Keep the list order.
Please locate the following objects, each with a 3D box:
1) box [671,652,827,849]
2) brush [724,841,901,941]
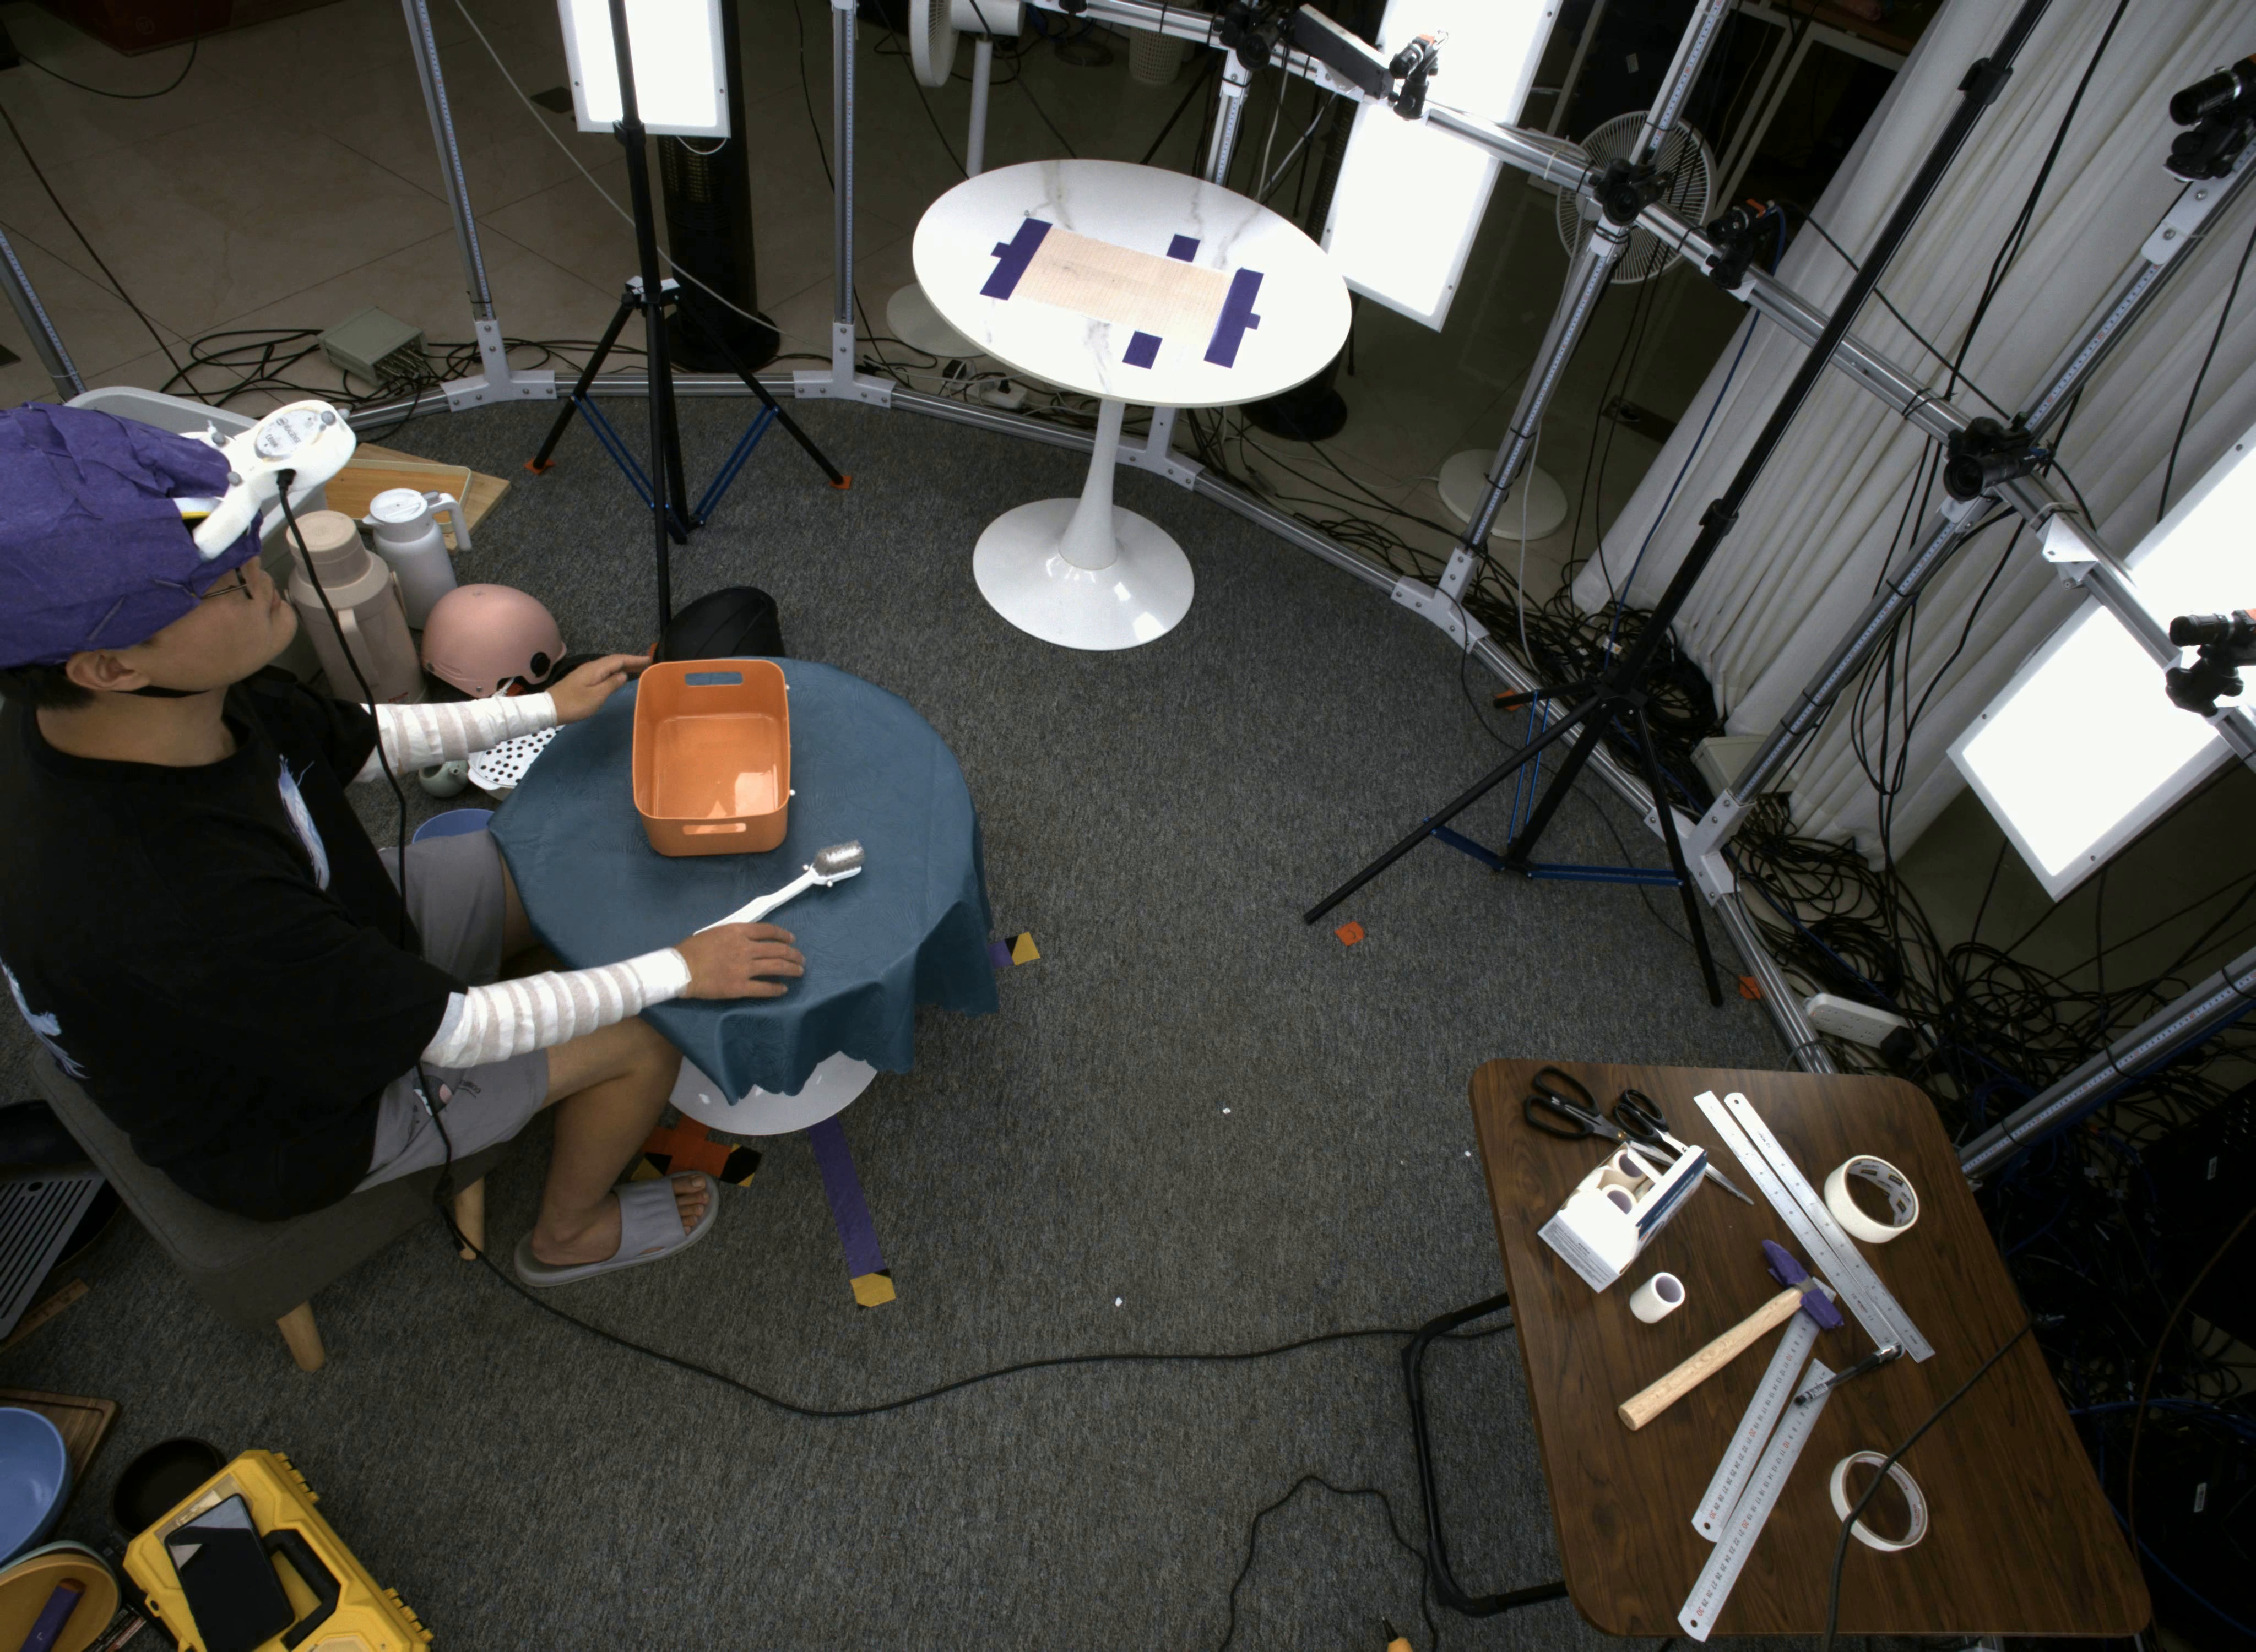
[{"bbox_3d":[-0.500,-0.097,1.718,0.200,0.104,0.267,-1,54,-15],"label":"box"},{"bbox_3d":[-0.401,0.078,1.650,0.245,0.051,0.033,-25,61,-29],"label":"brush"}]
